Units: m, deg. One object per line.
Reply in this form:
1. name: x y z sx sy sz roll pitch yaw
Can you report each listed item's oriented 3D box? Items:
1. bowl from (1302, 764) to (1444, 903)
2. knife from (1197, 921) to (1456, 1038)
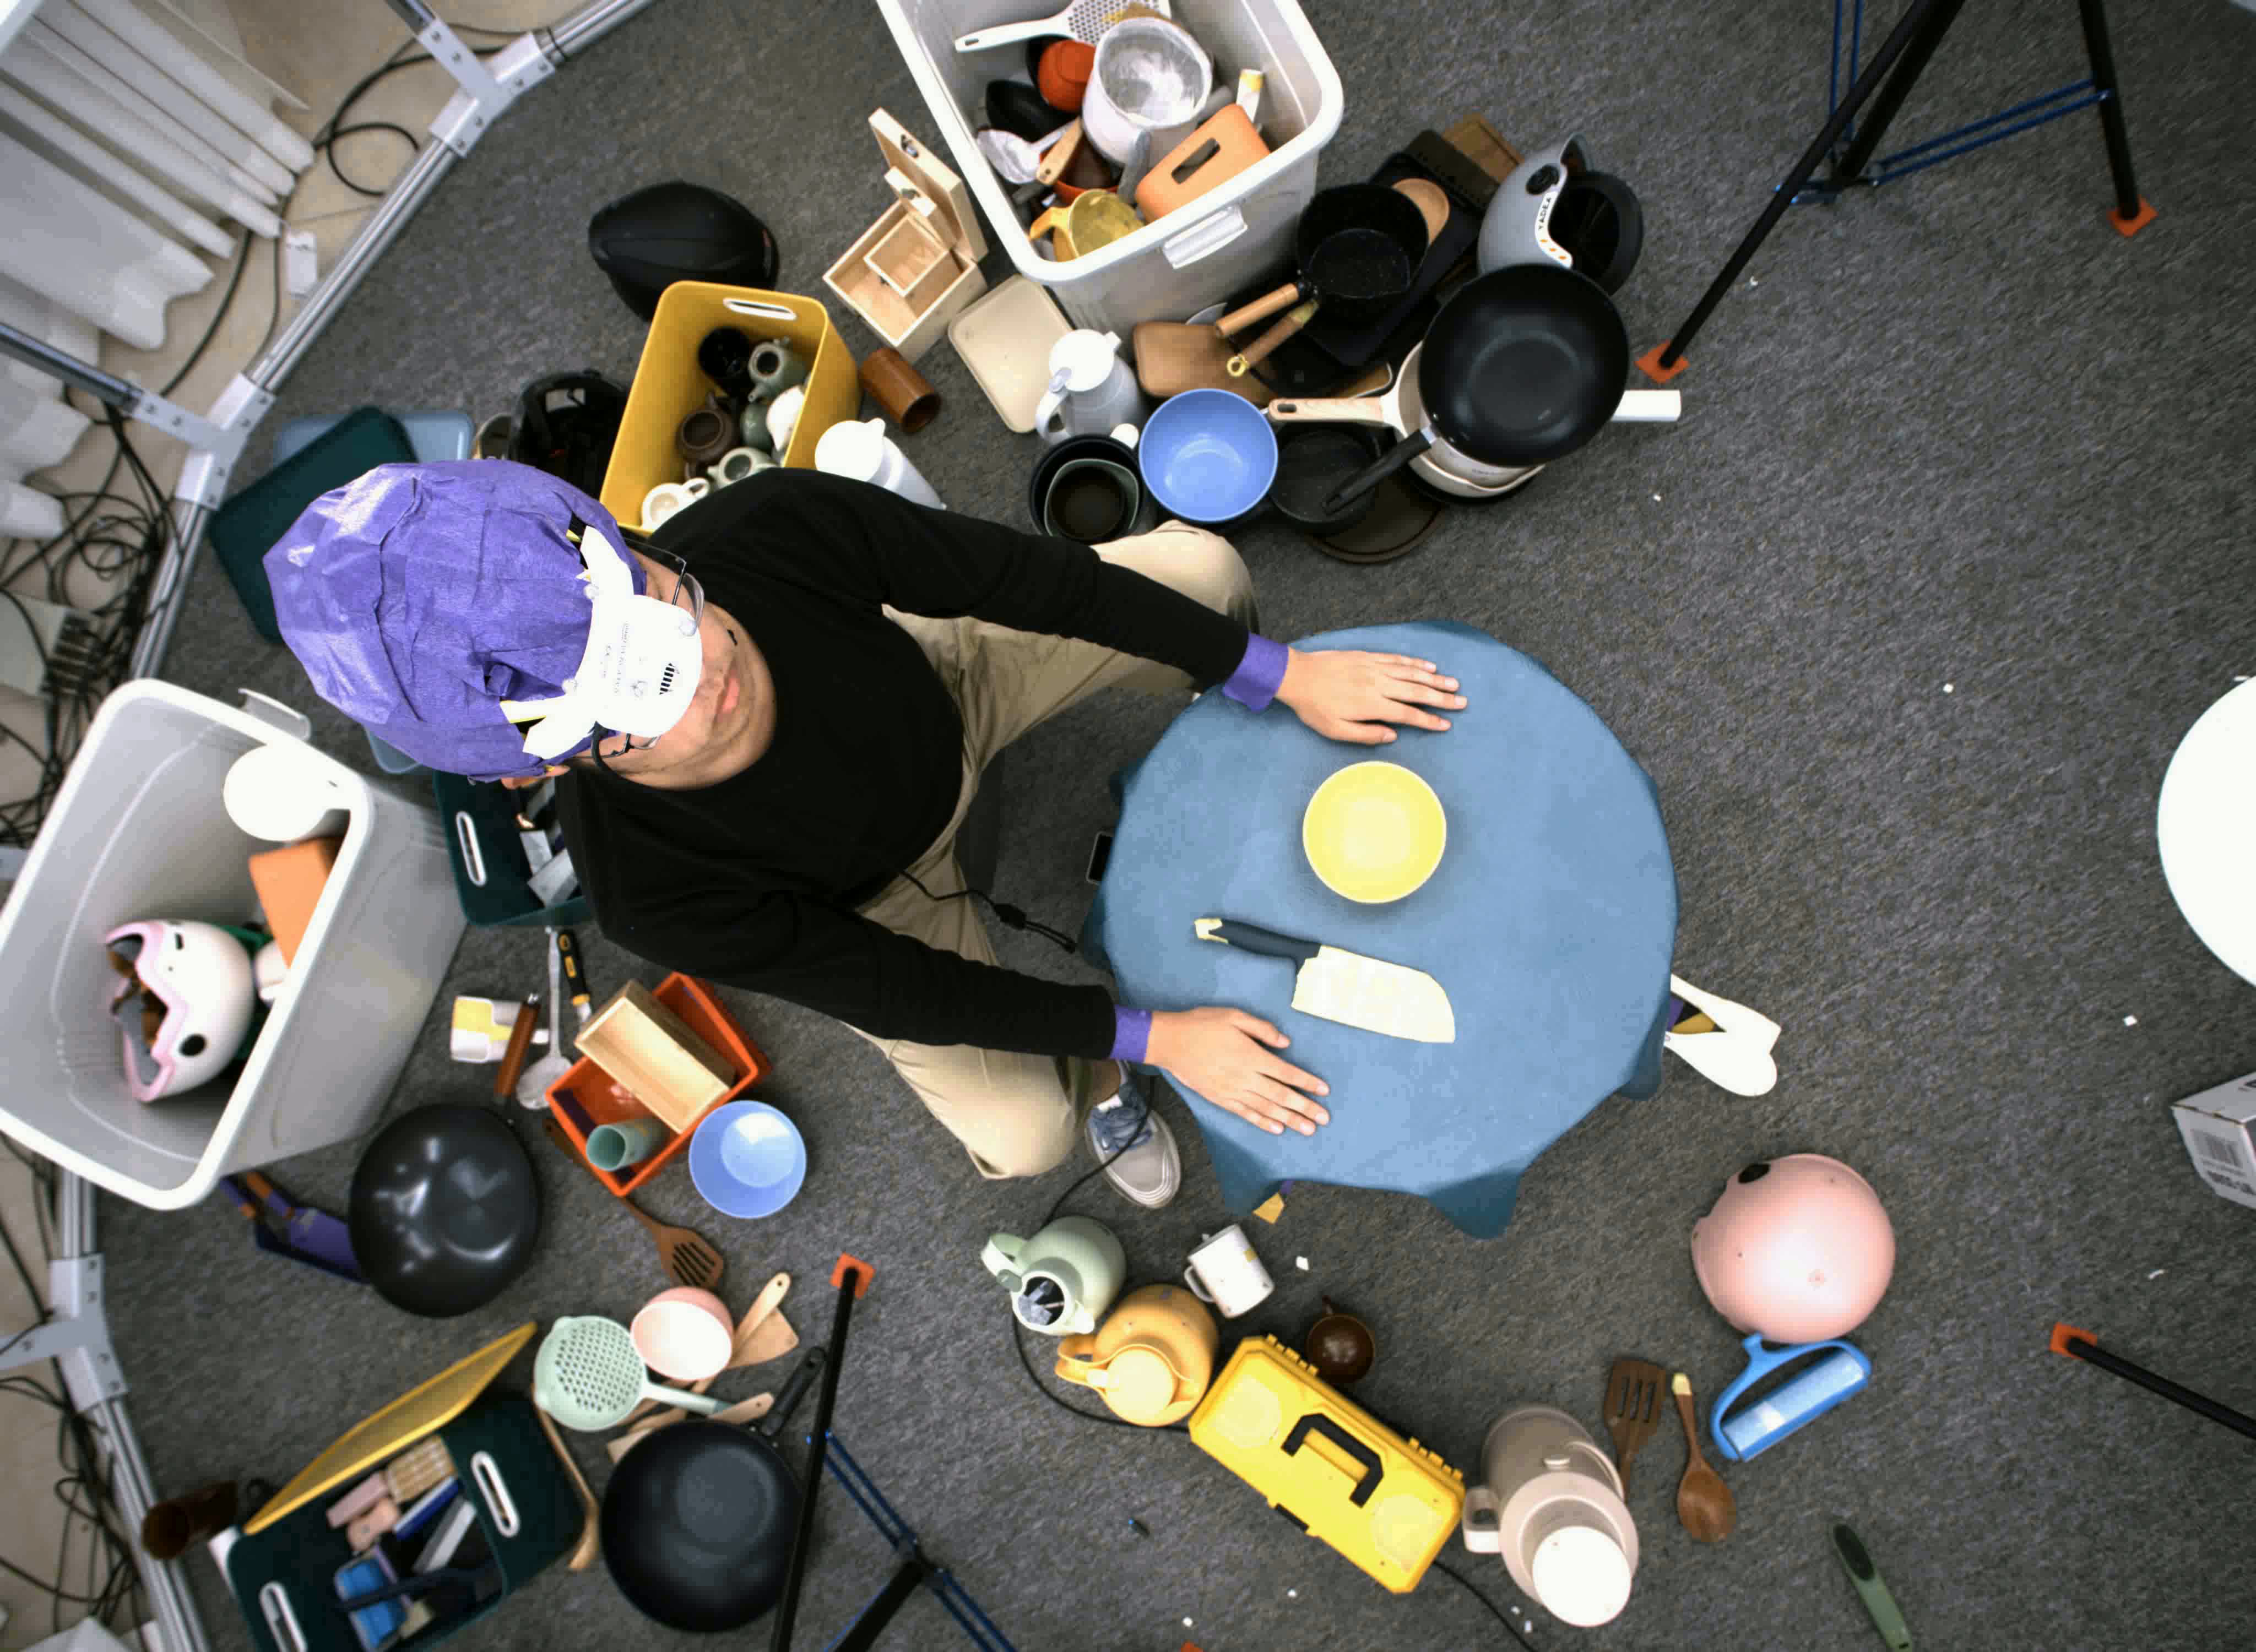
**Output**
1. bowl: 0.254 0.010 1.437 0.146 0.060 0.144 -1 84 10
2. knife: 0.206 0.159 1.462 0.290 0.027 0.081 17 89 10
